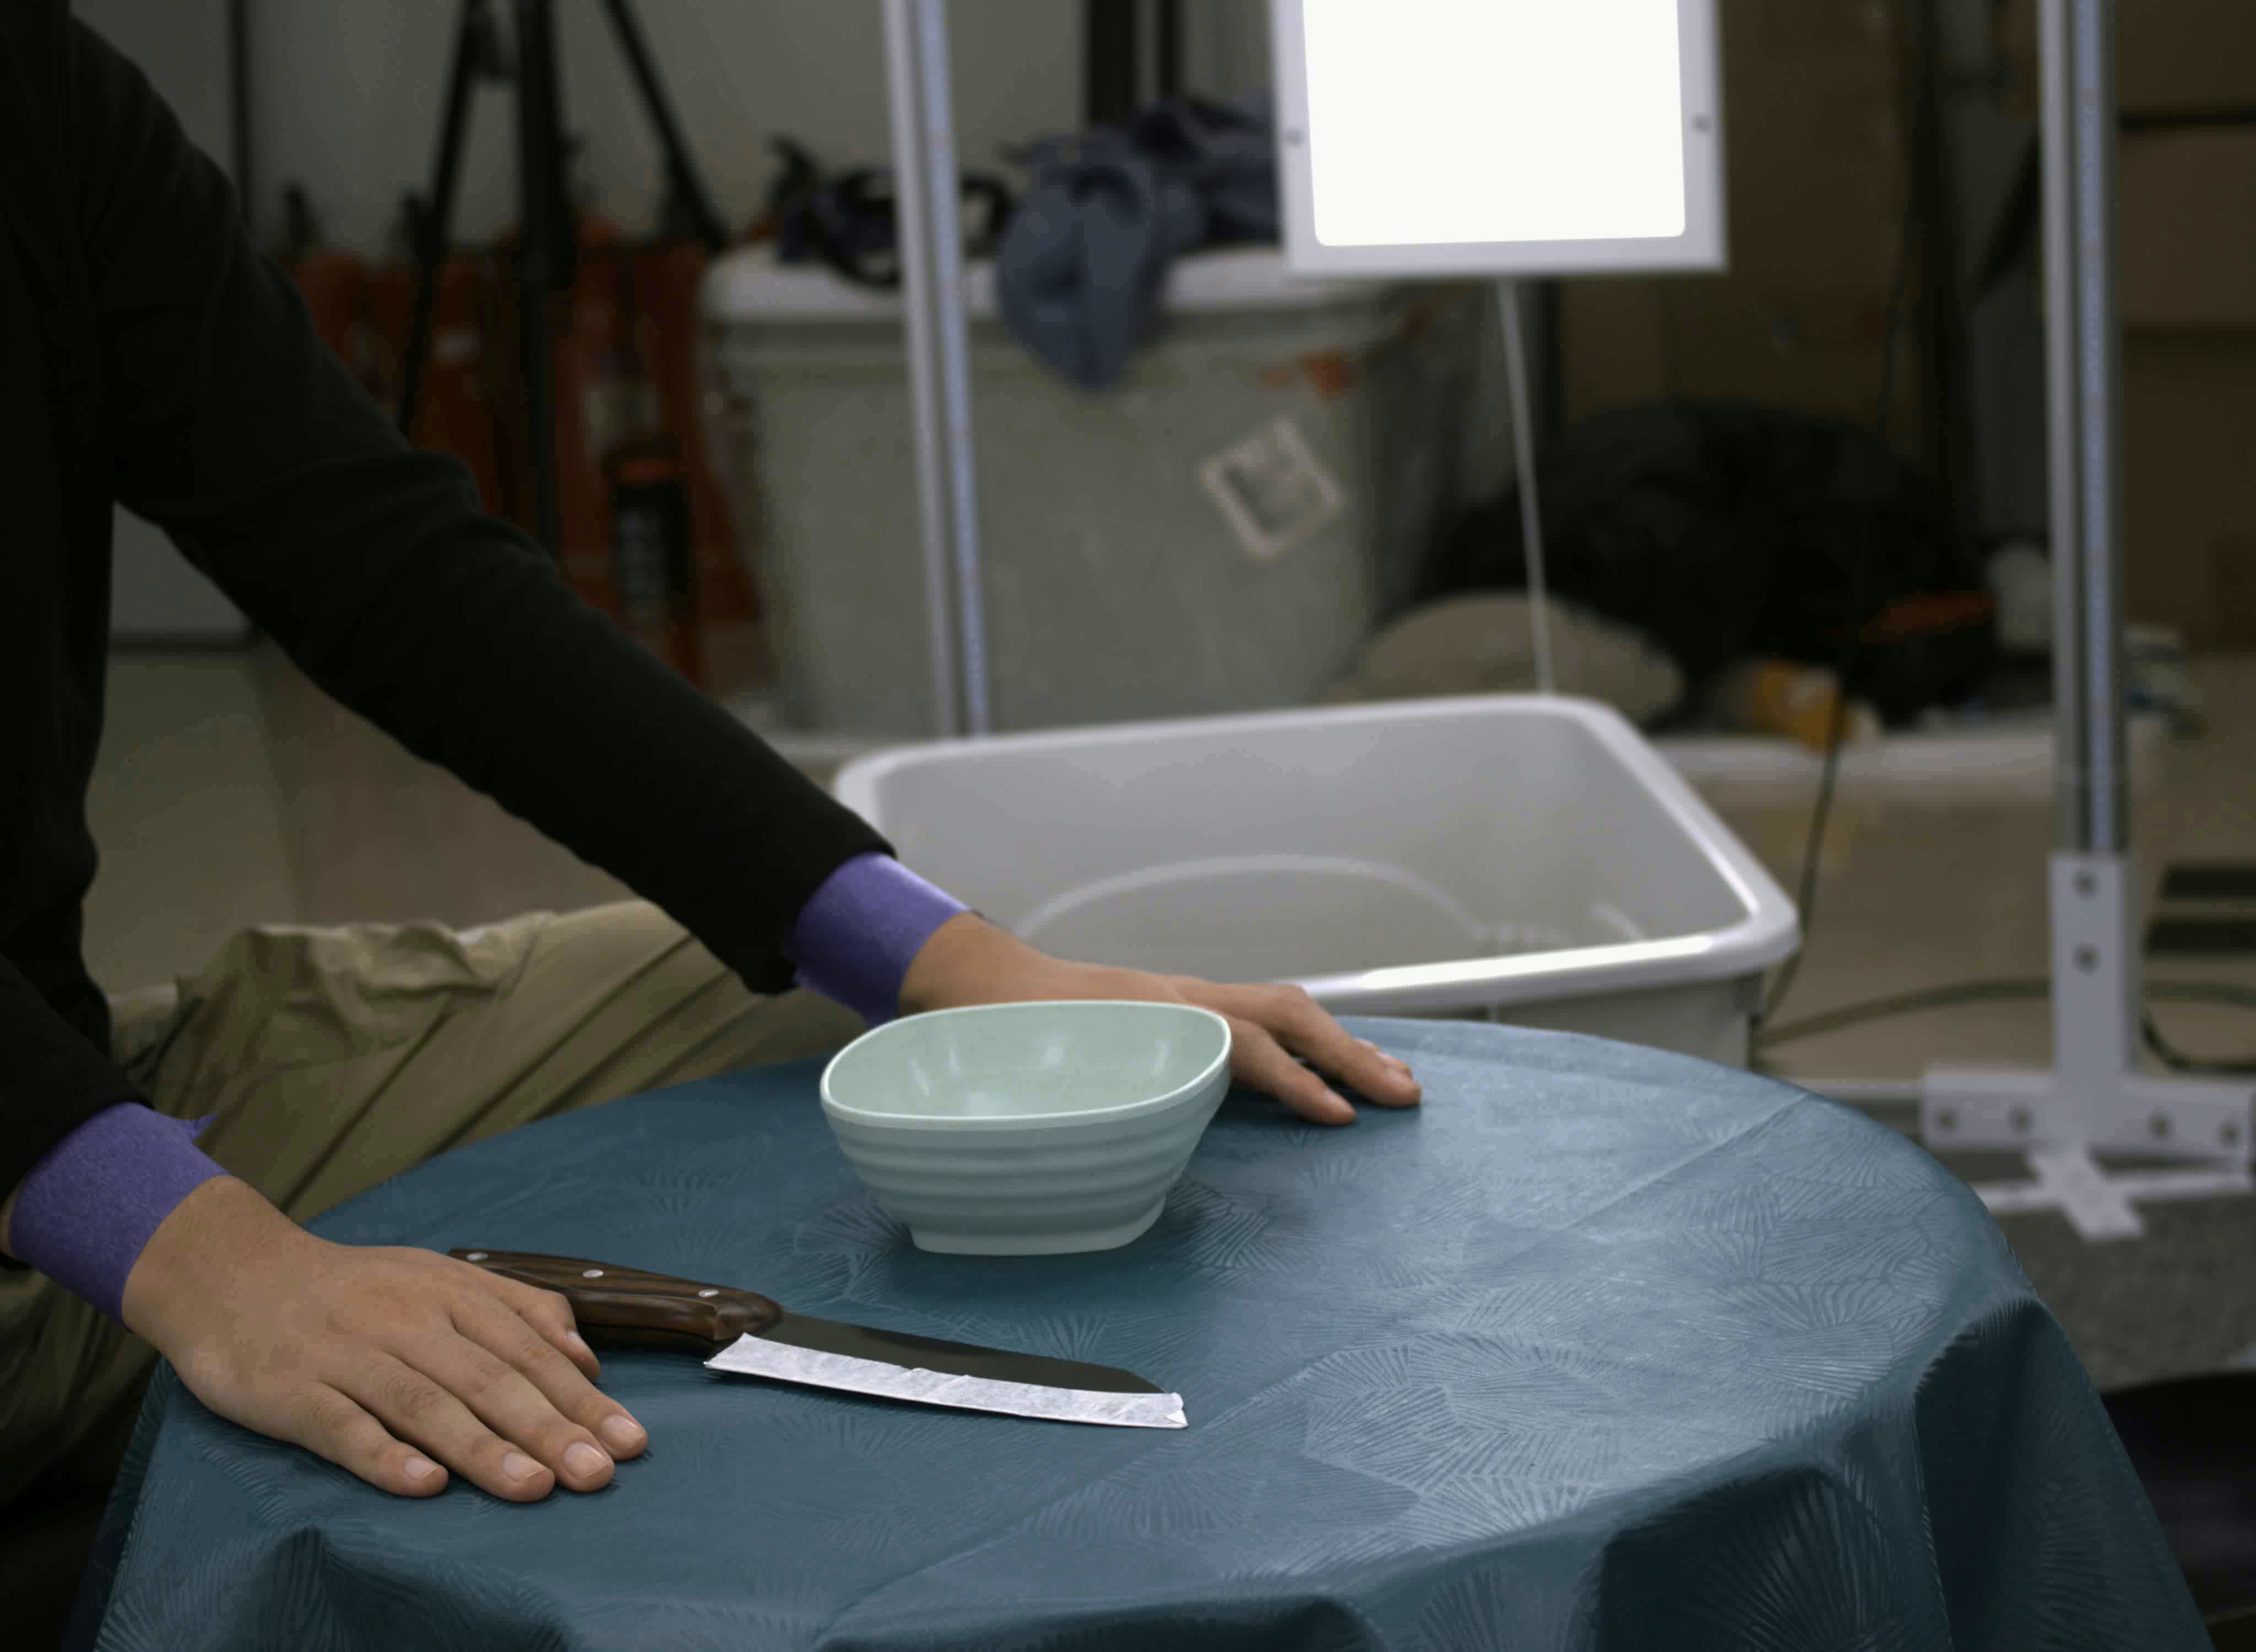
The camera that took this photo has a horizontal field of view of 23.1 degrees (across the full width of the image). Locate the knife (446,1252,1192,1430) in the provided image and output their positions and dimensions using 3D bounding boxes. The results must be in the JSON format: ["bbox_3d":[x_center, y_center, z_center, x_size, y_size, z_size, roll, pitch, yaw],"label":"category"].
[{"bbox_3d":[-0.102,0.165,1.749,0.295,0.020,0.049,7,23,33],"label":"knife"}]

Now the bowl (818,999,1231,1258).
[{"bbox_3d":[-0.034,0.106,1.875,0.151,0.059,0.151,-3,15,-1],"label":"bowl"}]
